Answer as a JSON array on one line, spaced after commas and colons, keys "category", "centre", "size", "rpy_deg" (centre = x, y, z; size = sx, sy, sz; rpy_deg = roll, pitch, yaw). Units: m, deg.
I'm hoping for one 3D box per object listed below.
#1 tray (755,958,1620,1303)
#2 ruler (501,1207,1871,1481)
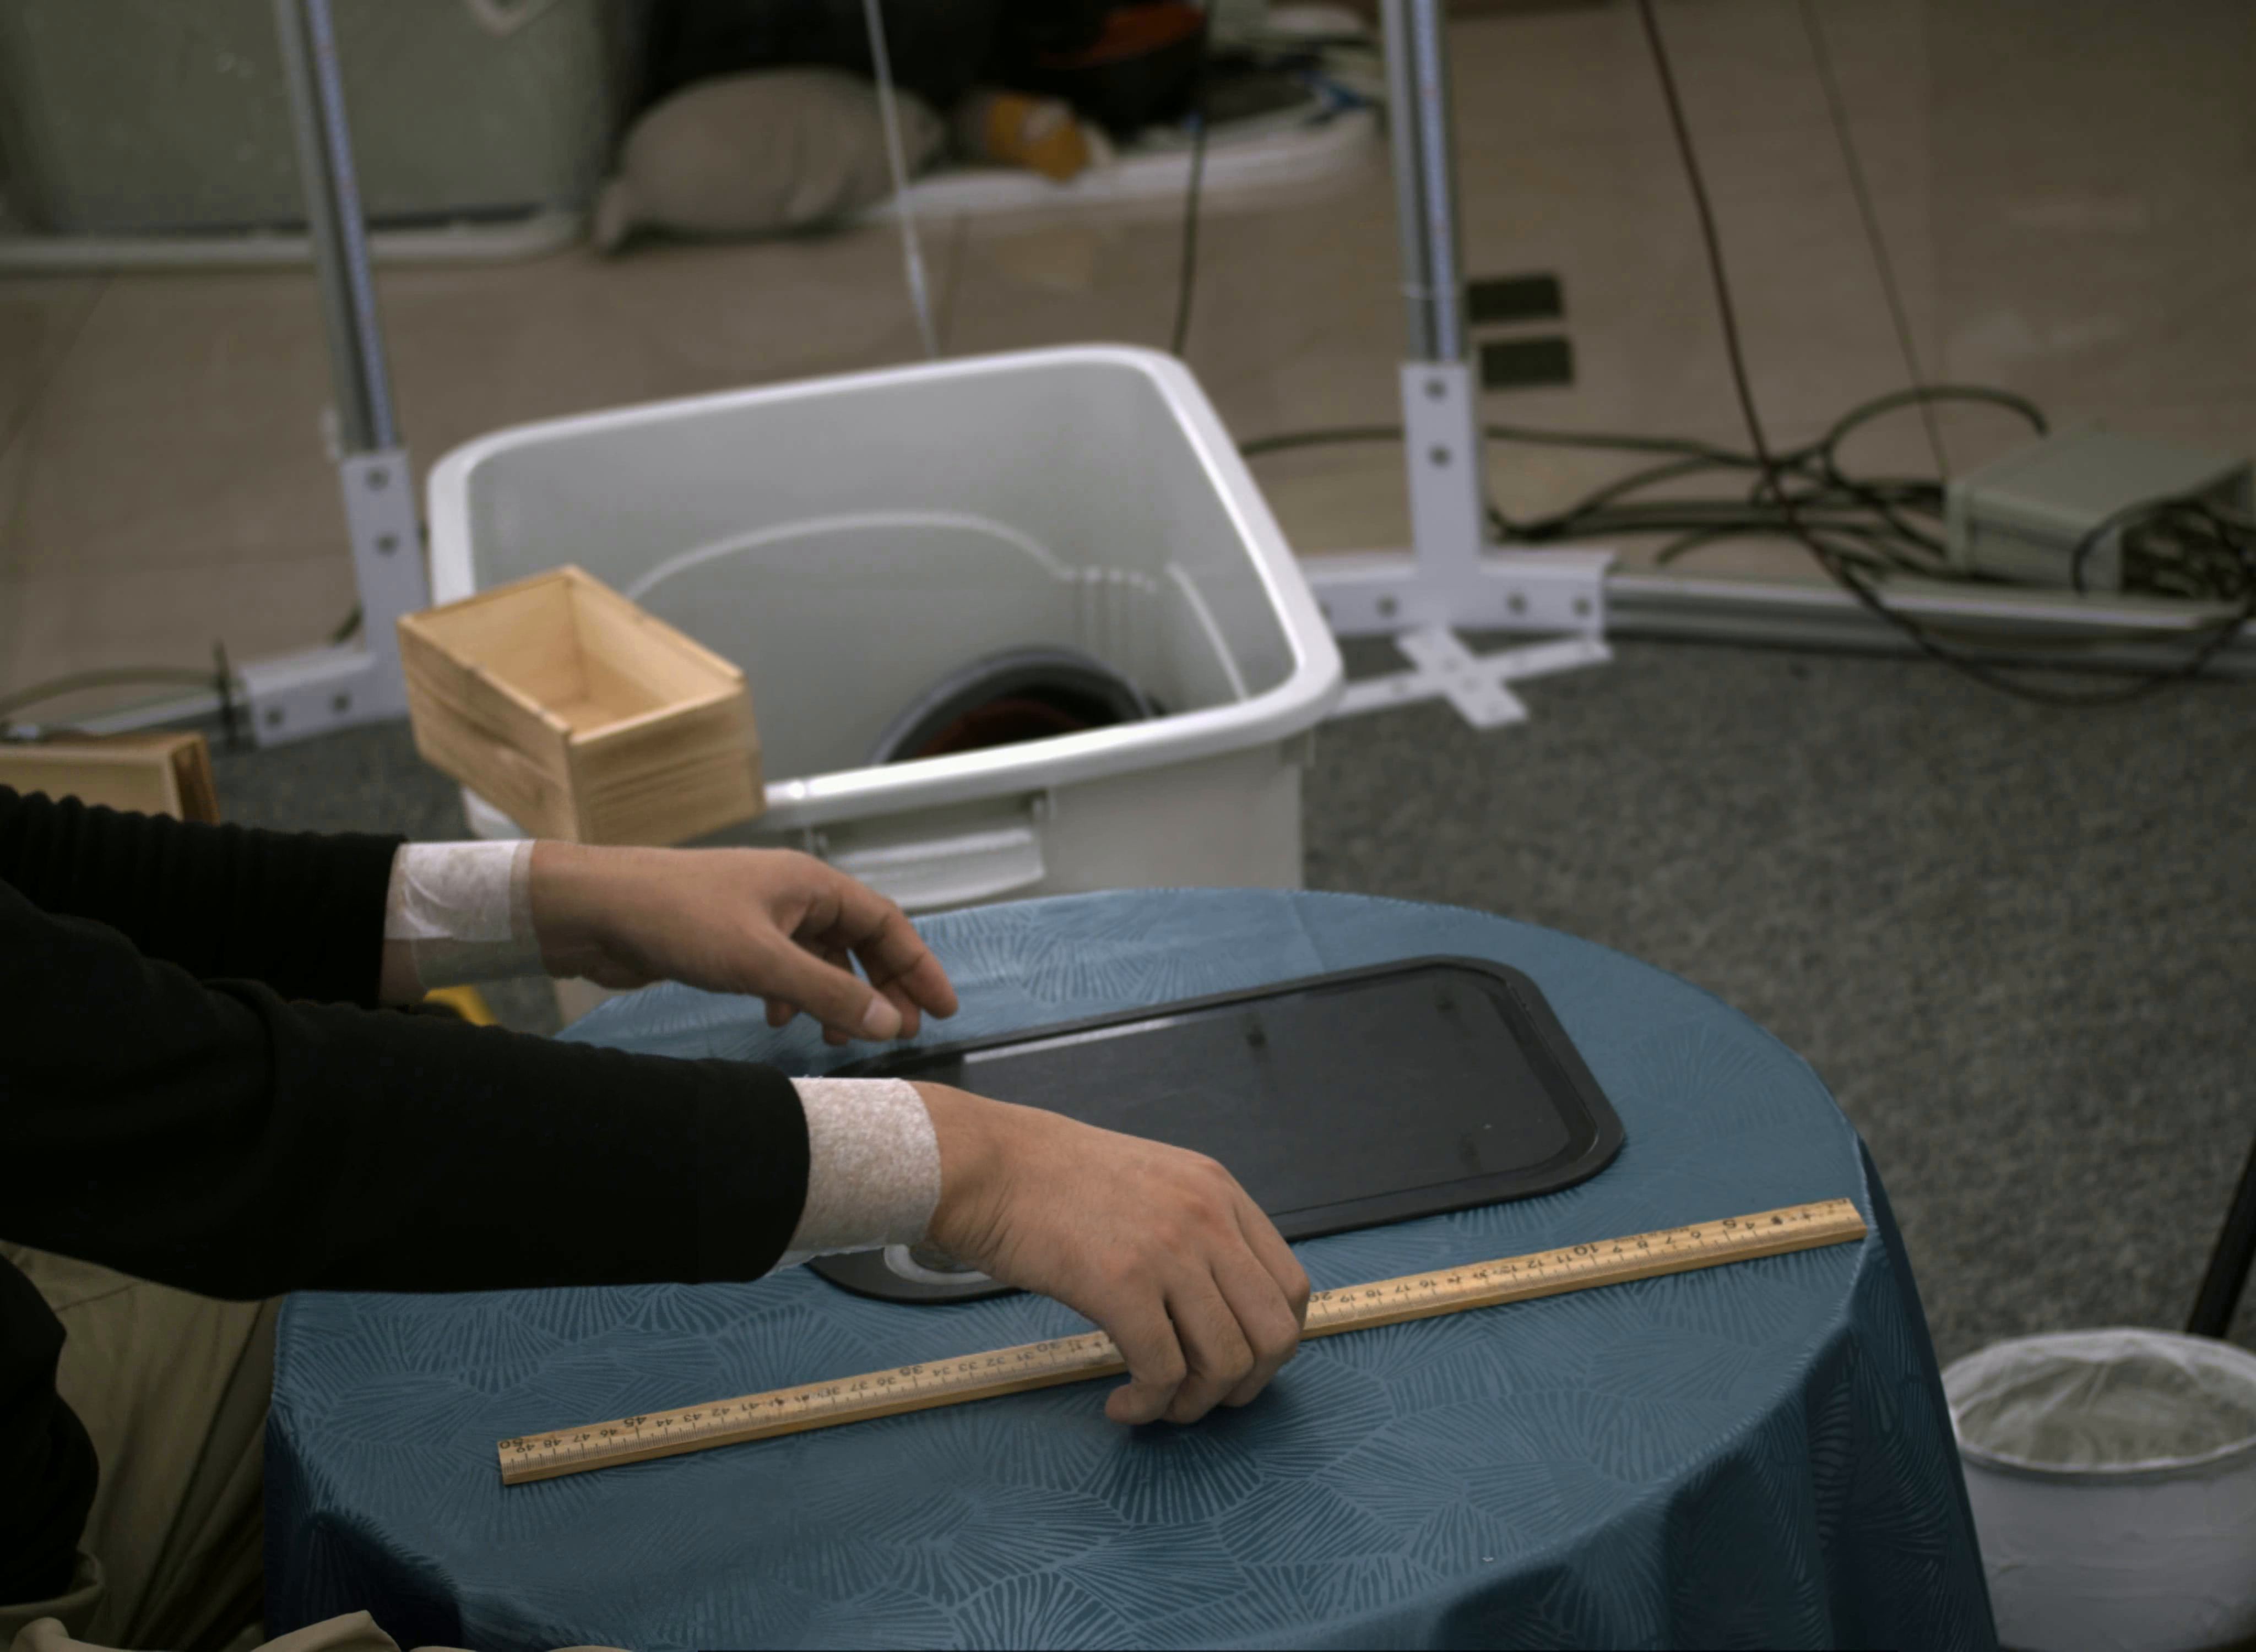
[{"category": "tray", "centre": [0.018, 0.115, 2.188], "size": [0.325, 0.010, 0.208], "rpy_deg": [-10, 25, -7]}, {"category": "ruler", "centre": [0.022, 0.184, 2.040], "size": [0.499, 0.006, 0.026], "rpy_deg": [-9, 21, -6]}]
